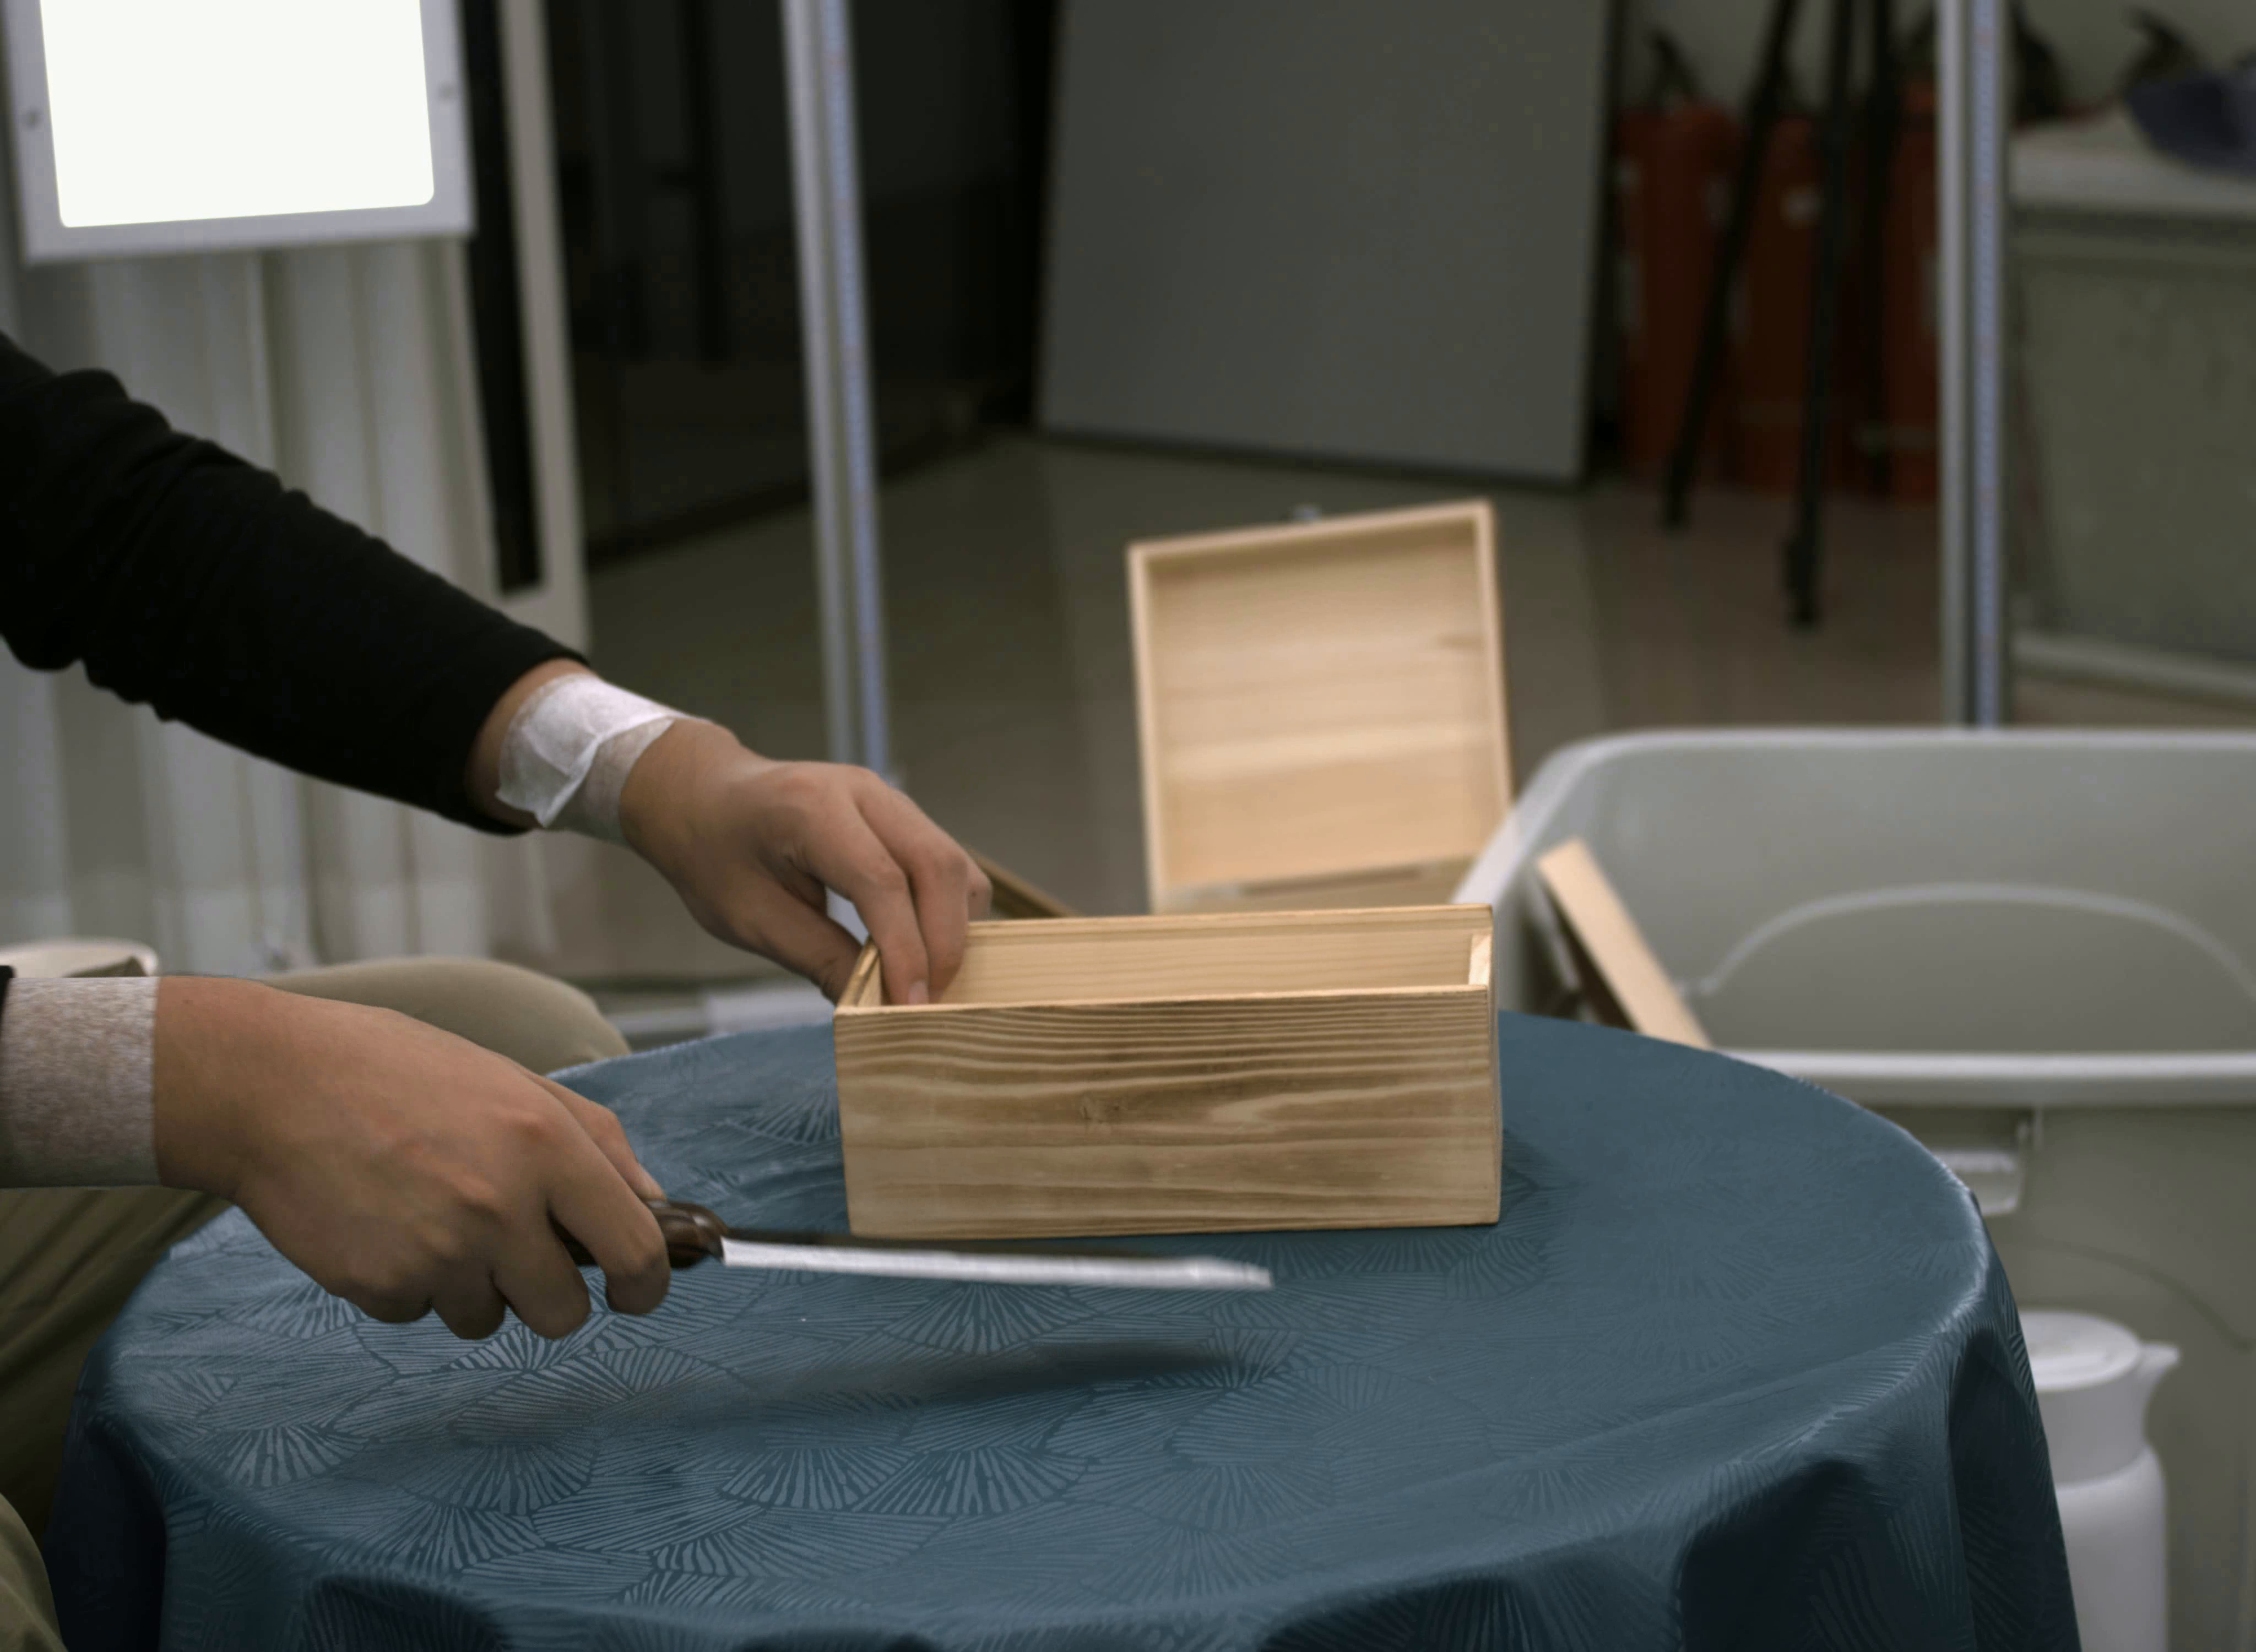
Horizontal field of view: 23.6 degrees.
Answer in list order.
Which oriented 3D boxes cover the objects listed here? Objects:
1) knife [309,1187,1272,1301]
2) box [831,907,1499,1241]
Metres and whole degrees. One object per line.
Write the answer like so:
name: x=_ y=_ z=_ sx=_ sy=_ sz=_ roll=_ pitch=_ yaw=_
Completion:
knife: x=-0.098 y=0.127 z=1.597 sx=0.284 sy=0.020 sz=0.050 roll=5 pitch=10 yaw=-4
box: x=0.015 y=0.080 z=1.764 sx=0.209 sy=0.081 sz=0.107 roll=-2 pitch=13 yaw=7
